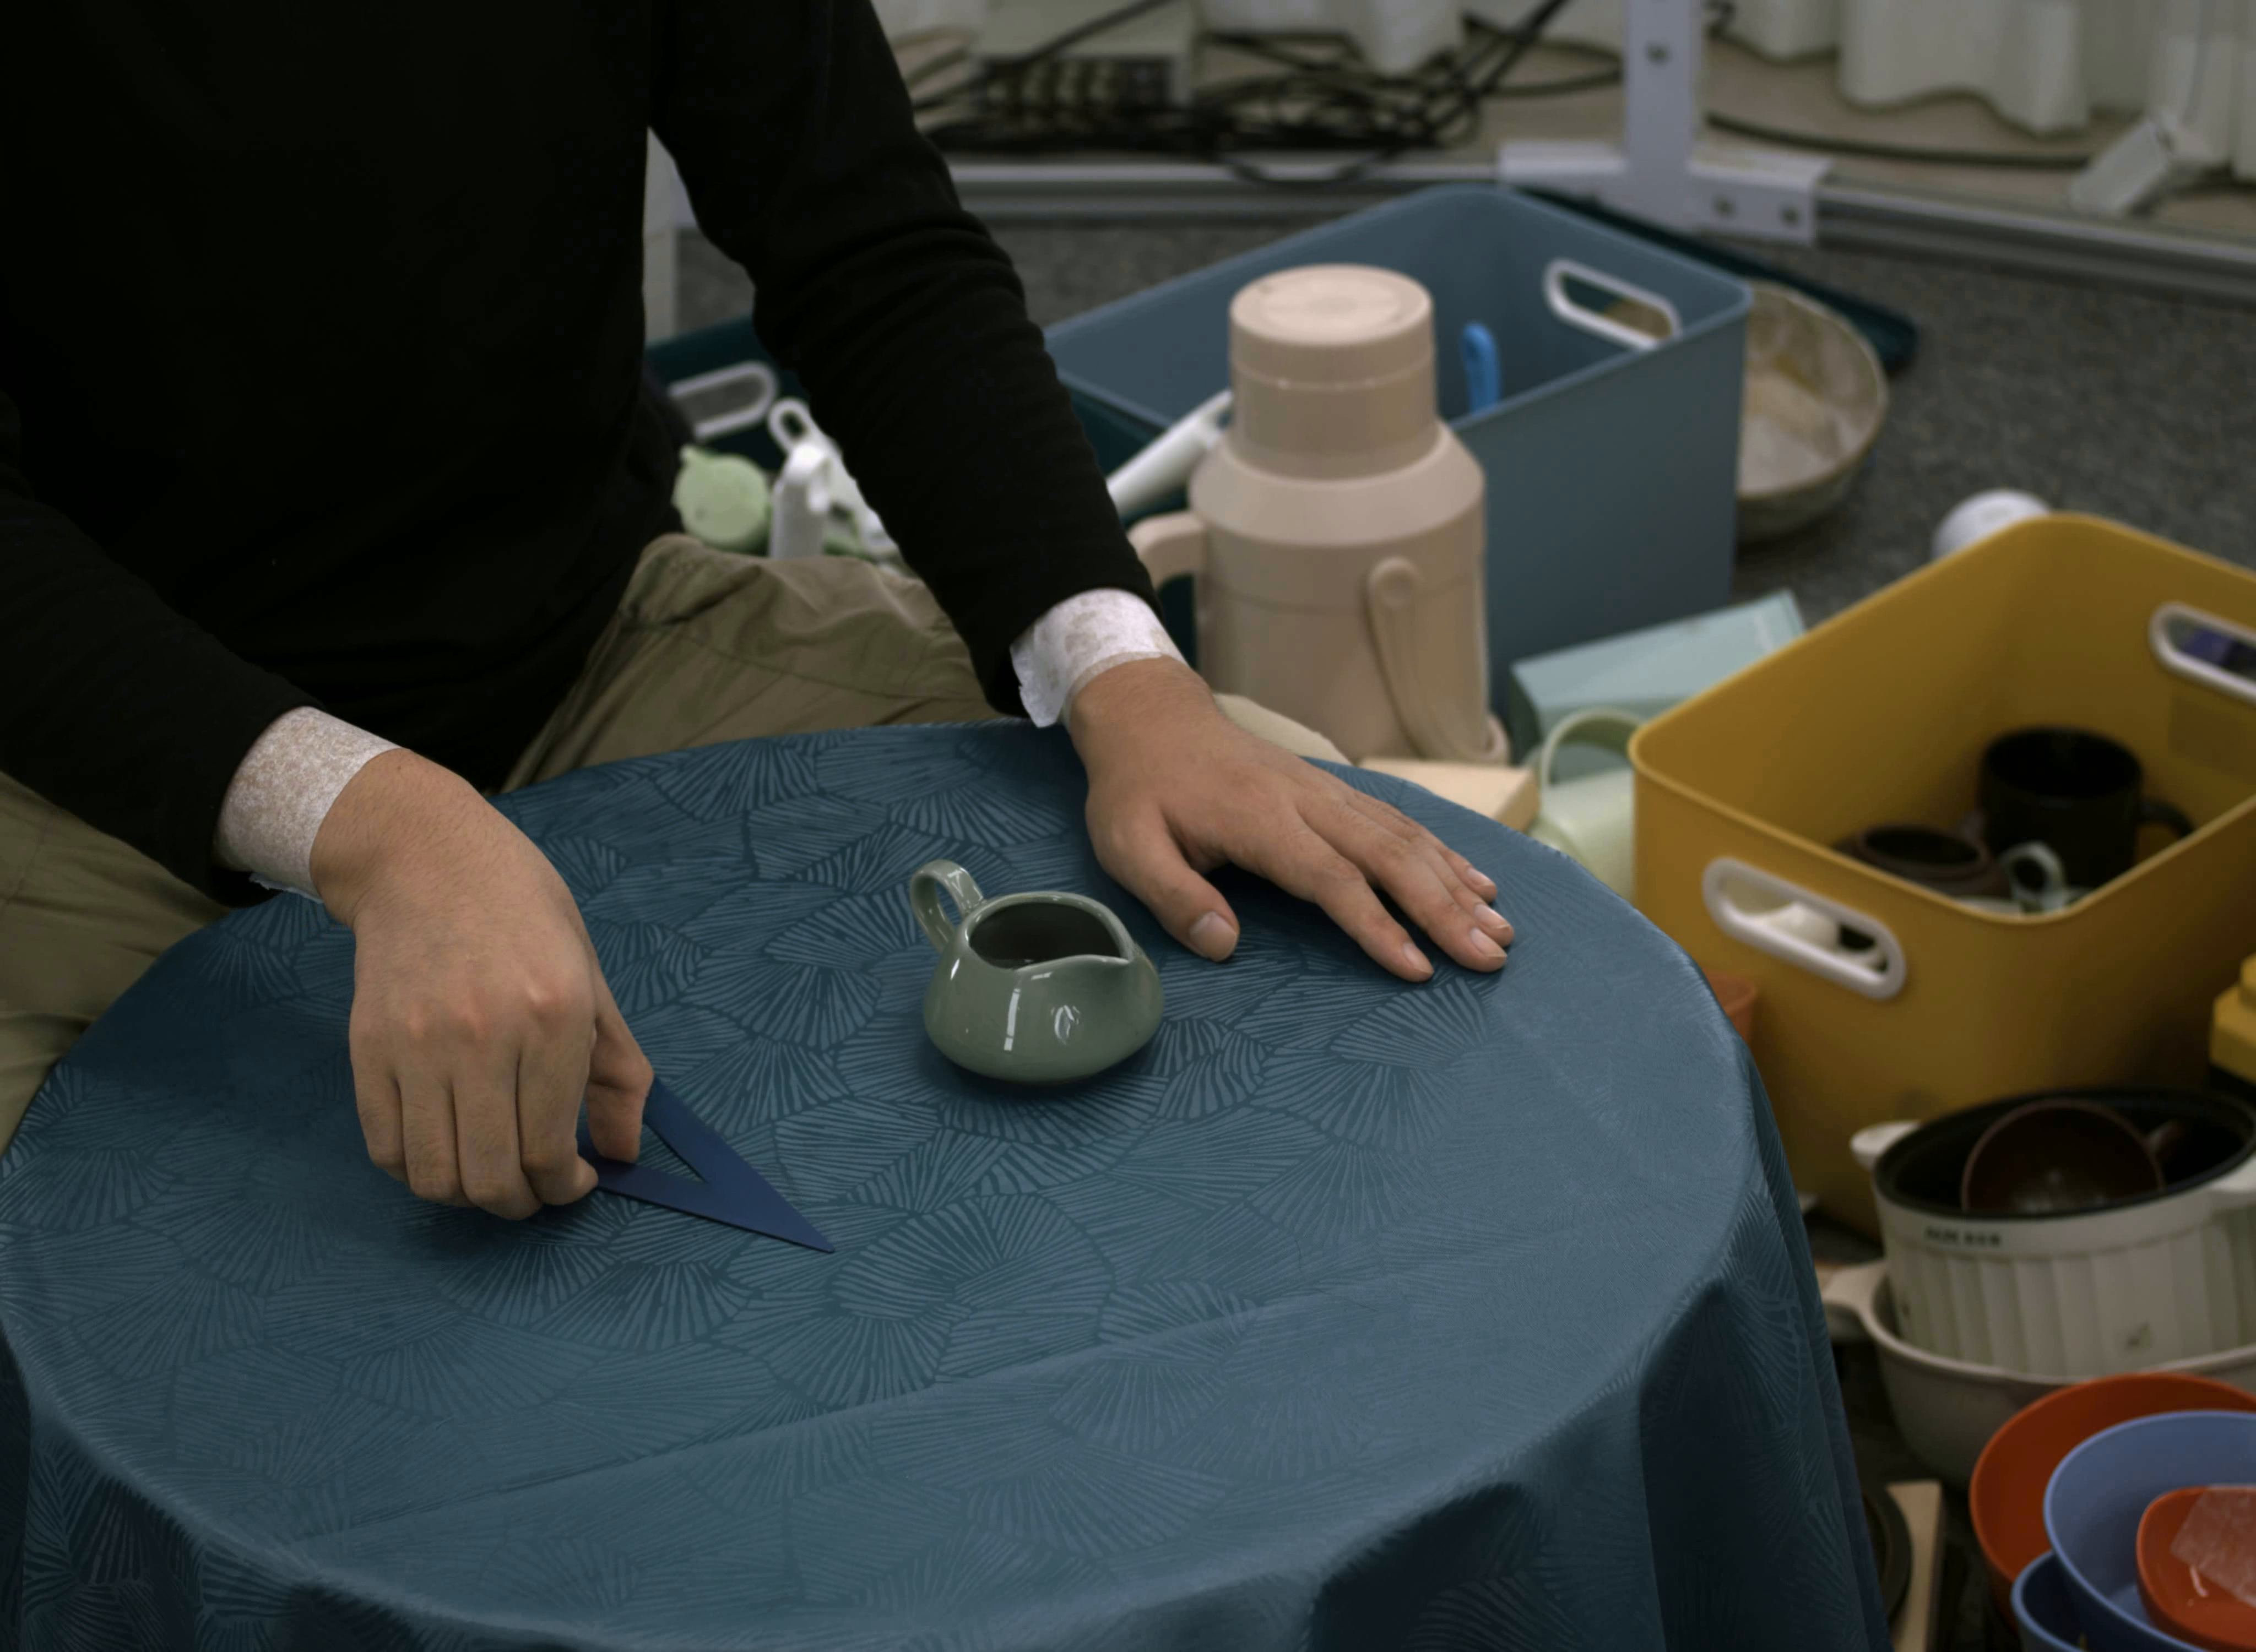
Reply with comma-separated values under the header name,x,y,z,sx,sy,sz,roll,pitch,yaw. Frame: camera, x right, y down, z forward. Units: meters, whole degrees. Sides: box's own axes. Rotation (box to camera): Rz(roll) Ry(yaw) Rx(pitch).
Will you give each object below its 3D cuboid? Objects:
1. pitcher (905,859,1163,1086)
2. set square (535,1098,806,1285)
name,x,y,z,sx,sy,sz,roll,pitch,yaw
pitcher,-0.035,0.051,1.941,0.085,0.055,0.112,-24,34,-39
set square,-0.156,0.125,1.864,0.061,0.006,0.133,-13,29,-23
